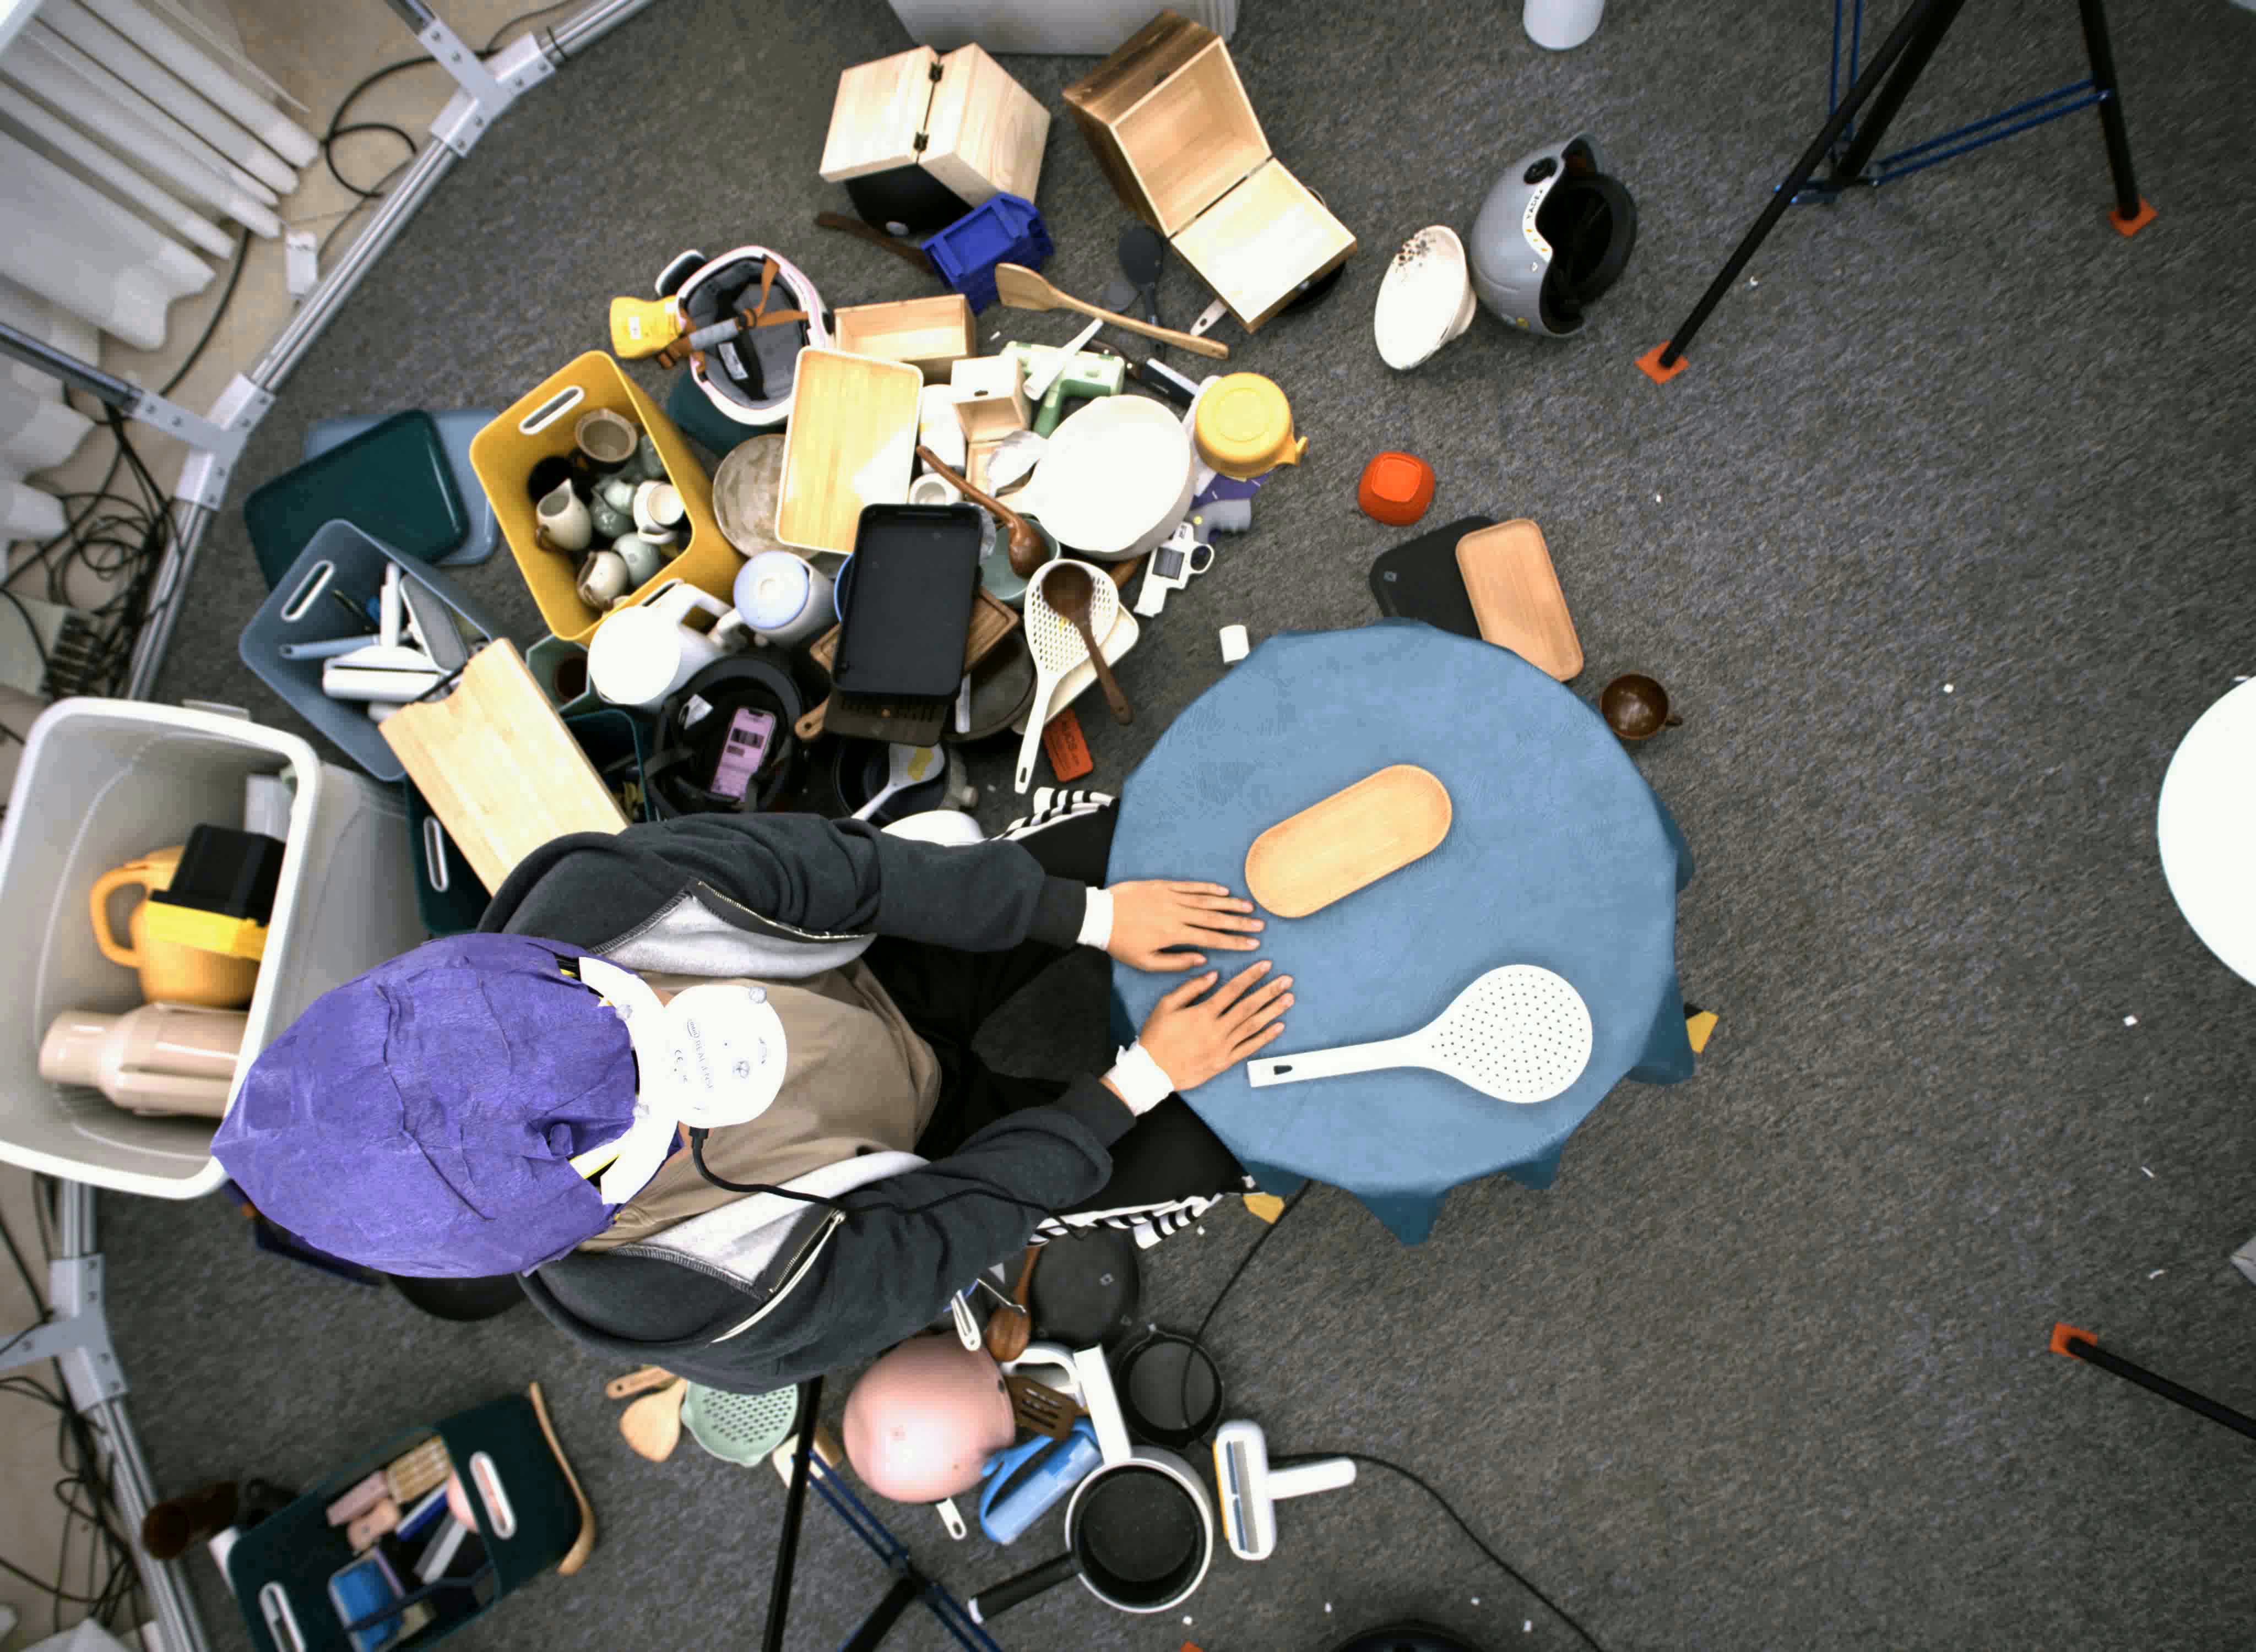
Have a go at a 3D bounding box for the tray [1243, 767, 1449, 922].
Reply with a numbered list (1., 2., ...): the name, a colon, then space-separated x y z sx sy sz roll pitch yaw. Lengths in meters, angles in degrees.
1. tray: 0.230 0.019 1.461 0.232 0.020 0.101 -29 81 9

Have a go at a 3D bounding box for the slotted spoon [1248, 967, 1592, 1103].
1. slotted spoon: 0.295 0.230 1.423 0.352 0.046 0.135 -11 83 11
